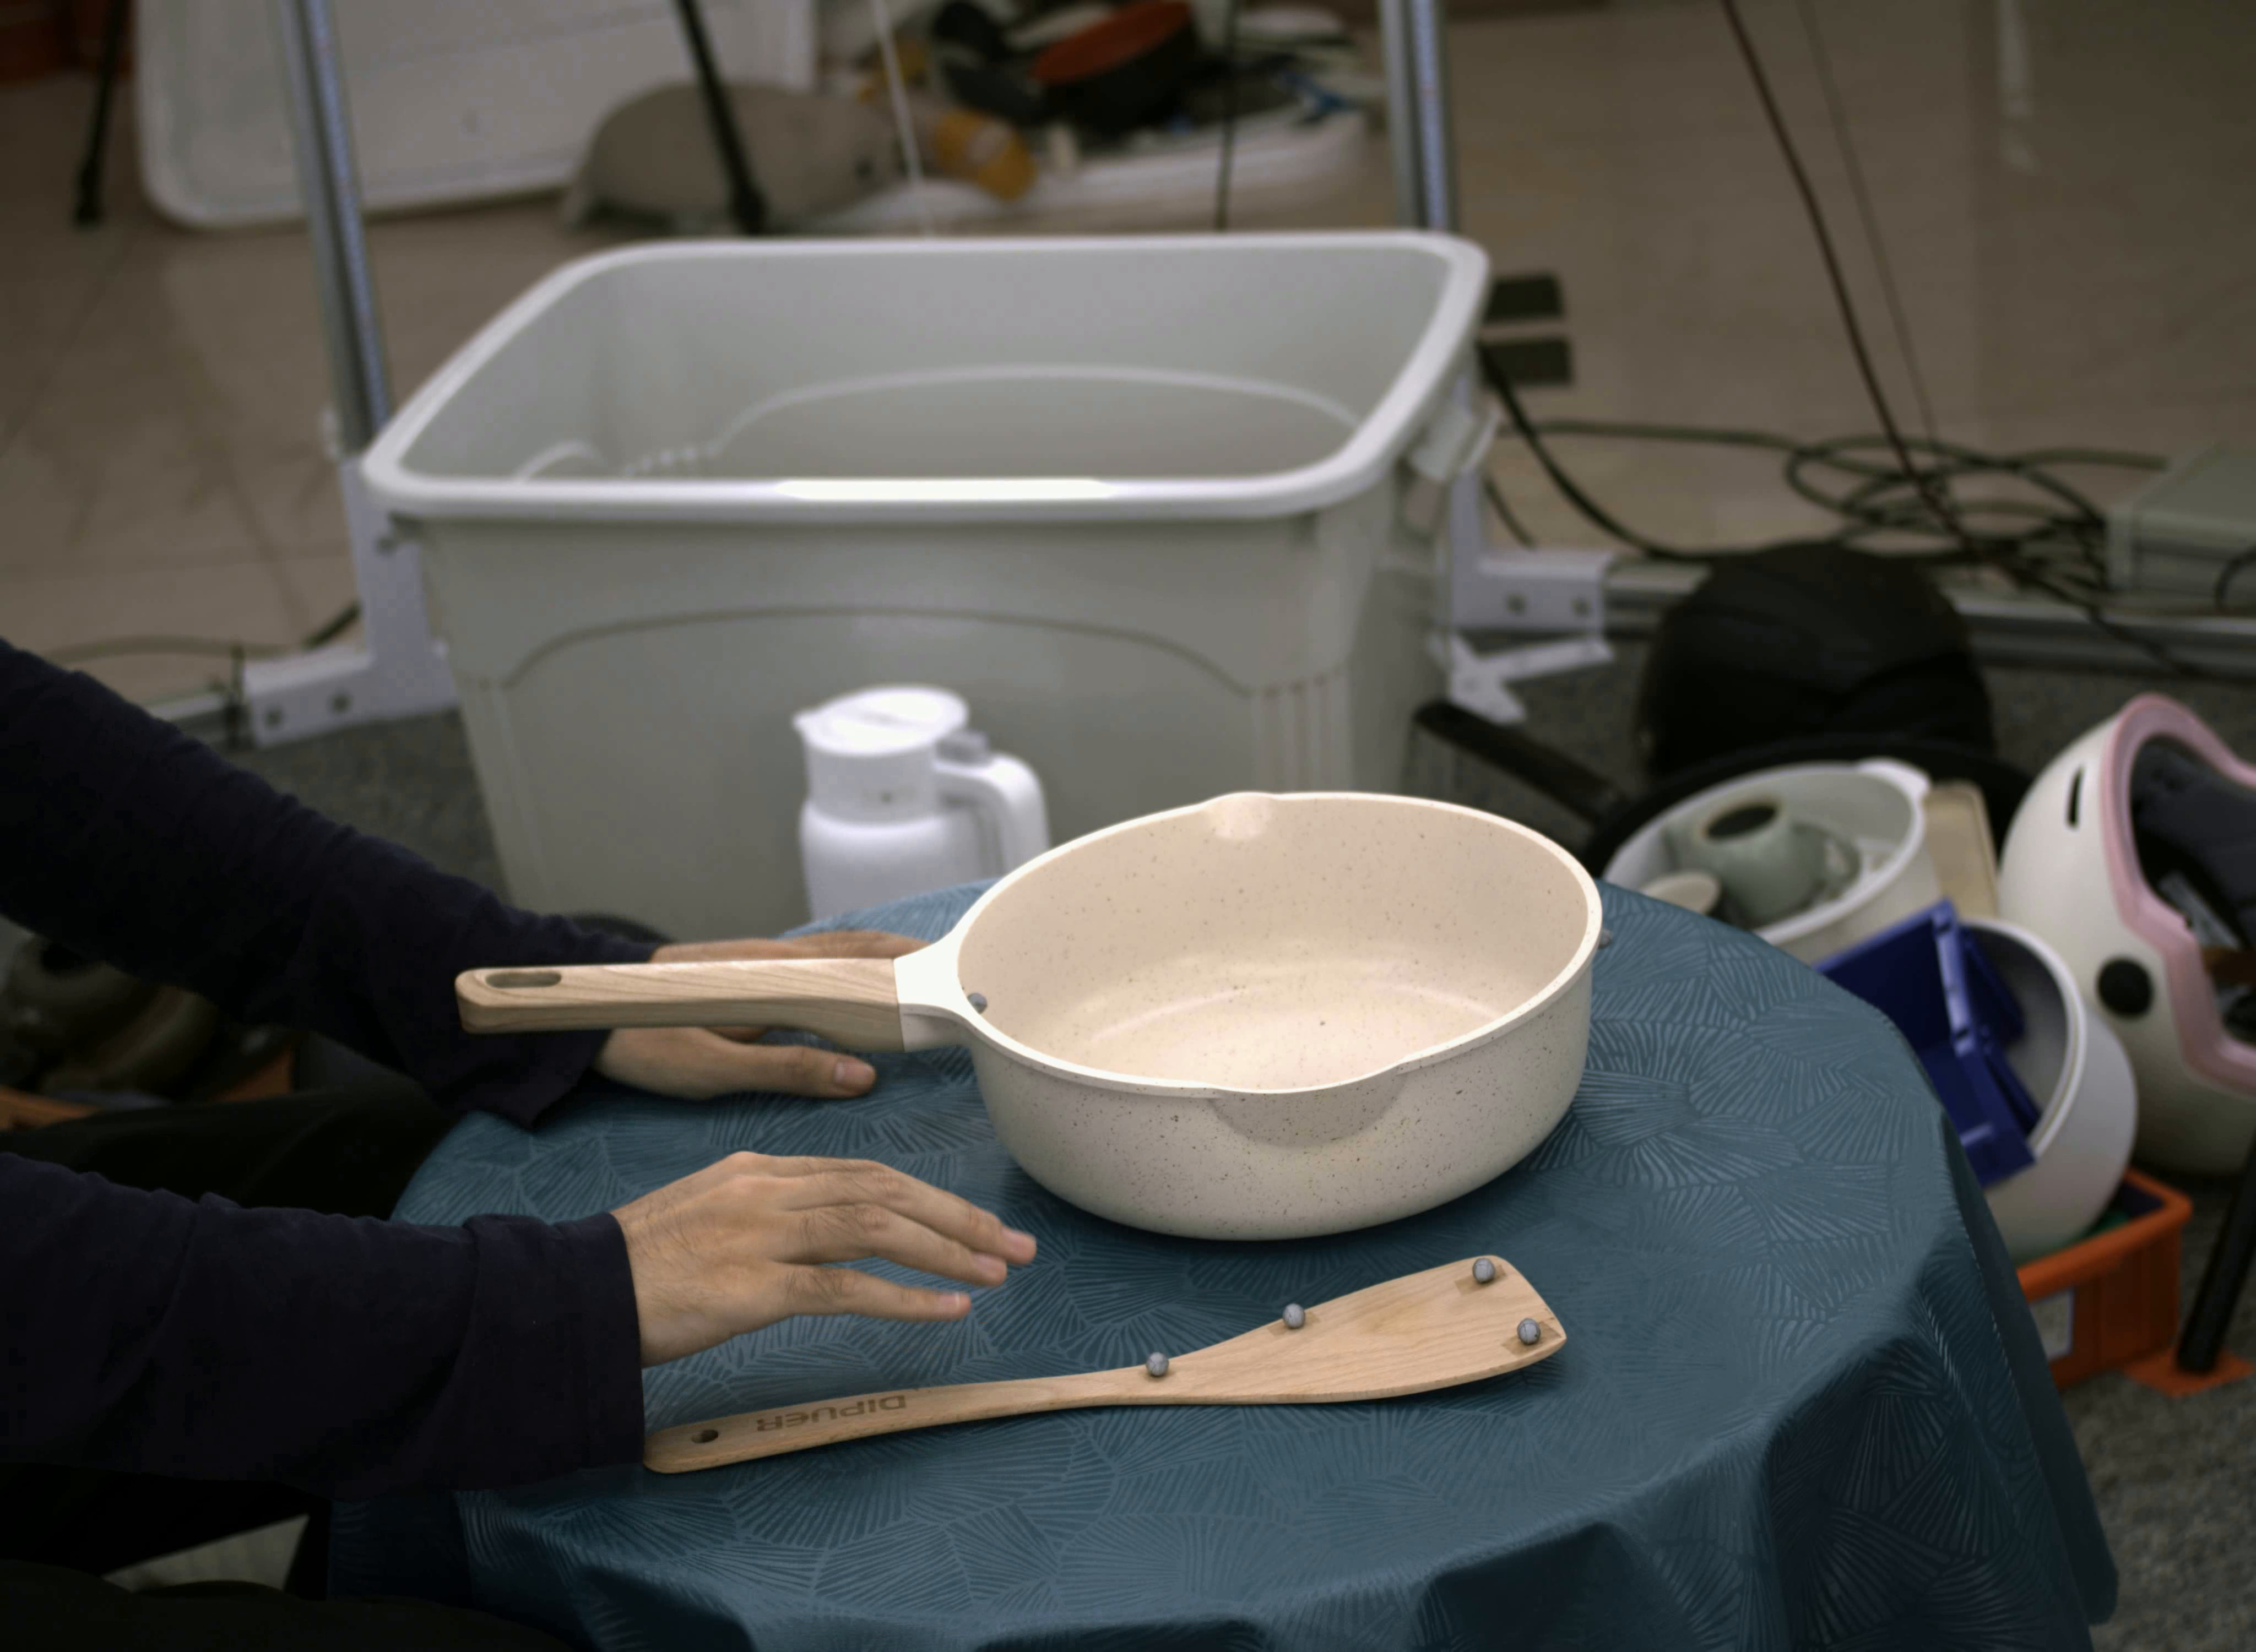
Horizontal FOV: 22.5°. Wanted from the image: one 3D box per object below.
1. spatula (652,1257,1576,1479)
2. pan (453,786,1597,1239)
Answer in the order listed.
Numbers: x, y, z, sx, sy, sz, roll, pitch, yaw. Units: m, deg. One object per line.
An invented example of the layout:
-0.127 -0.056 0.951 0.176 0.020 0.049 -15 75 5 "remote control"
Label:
-0.007 0.197 2.013 0.327 0.017 0.079 -8 25 -3 "spatula"
-0.034 0.082 2.166 0.434 0.103 0.259 -8 26 -3 "pan"
